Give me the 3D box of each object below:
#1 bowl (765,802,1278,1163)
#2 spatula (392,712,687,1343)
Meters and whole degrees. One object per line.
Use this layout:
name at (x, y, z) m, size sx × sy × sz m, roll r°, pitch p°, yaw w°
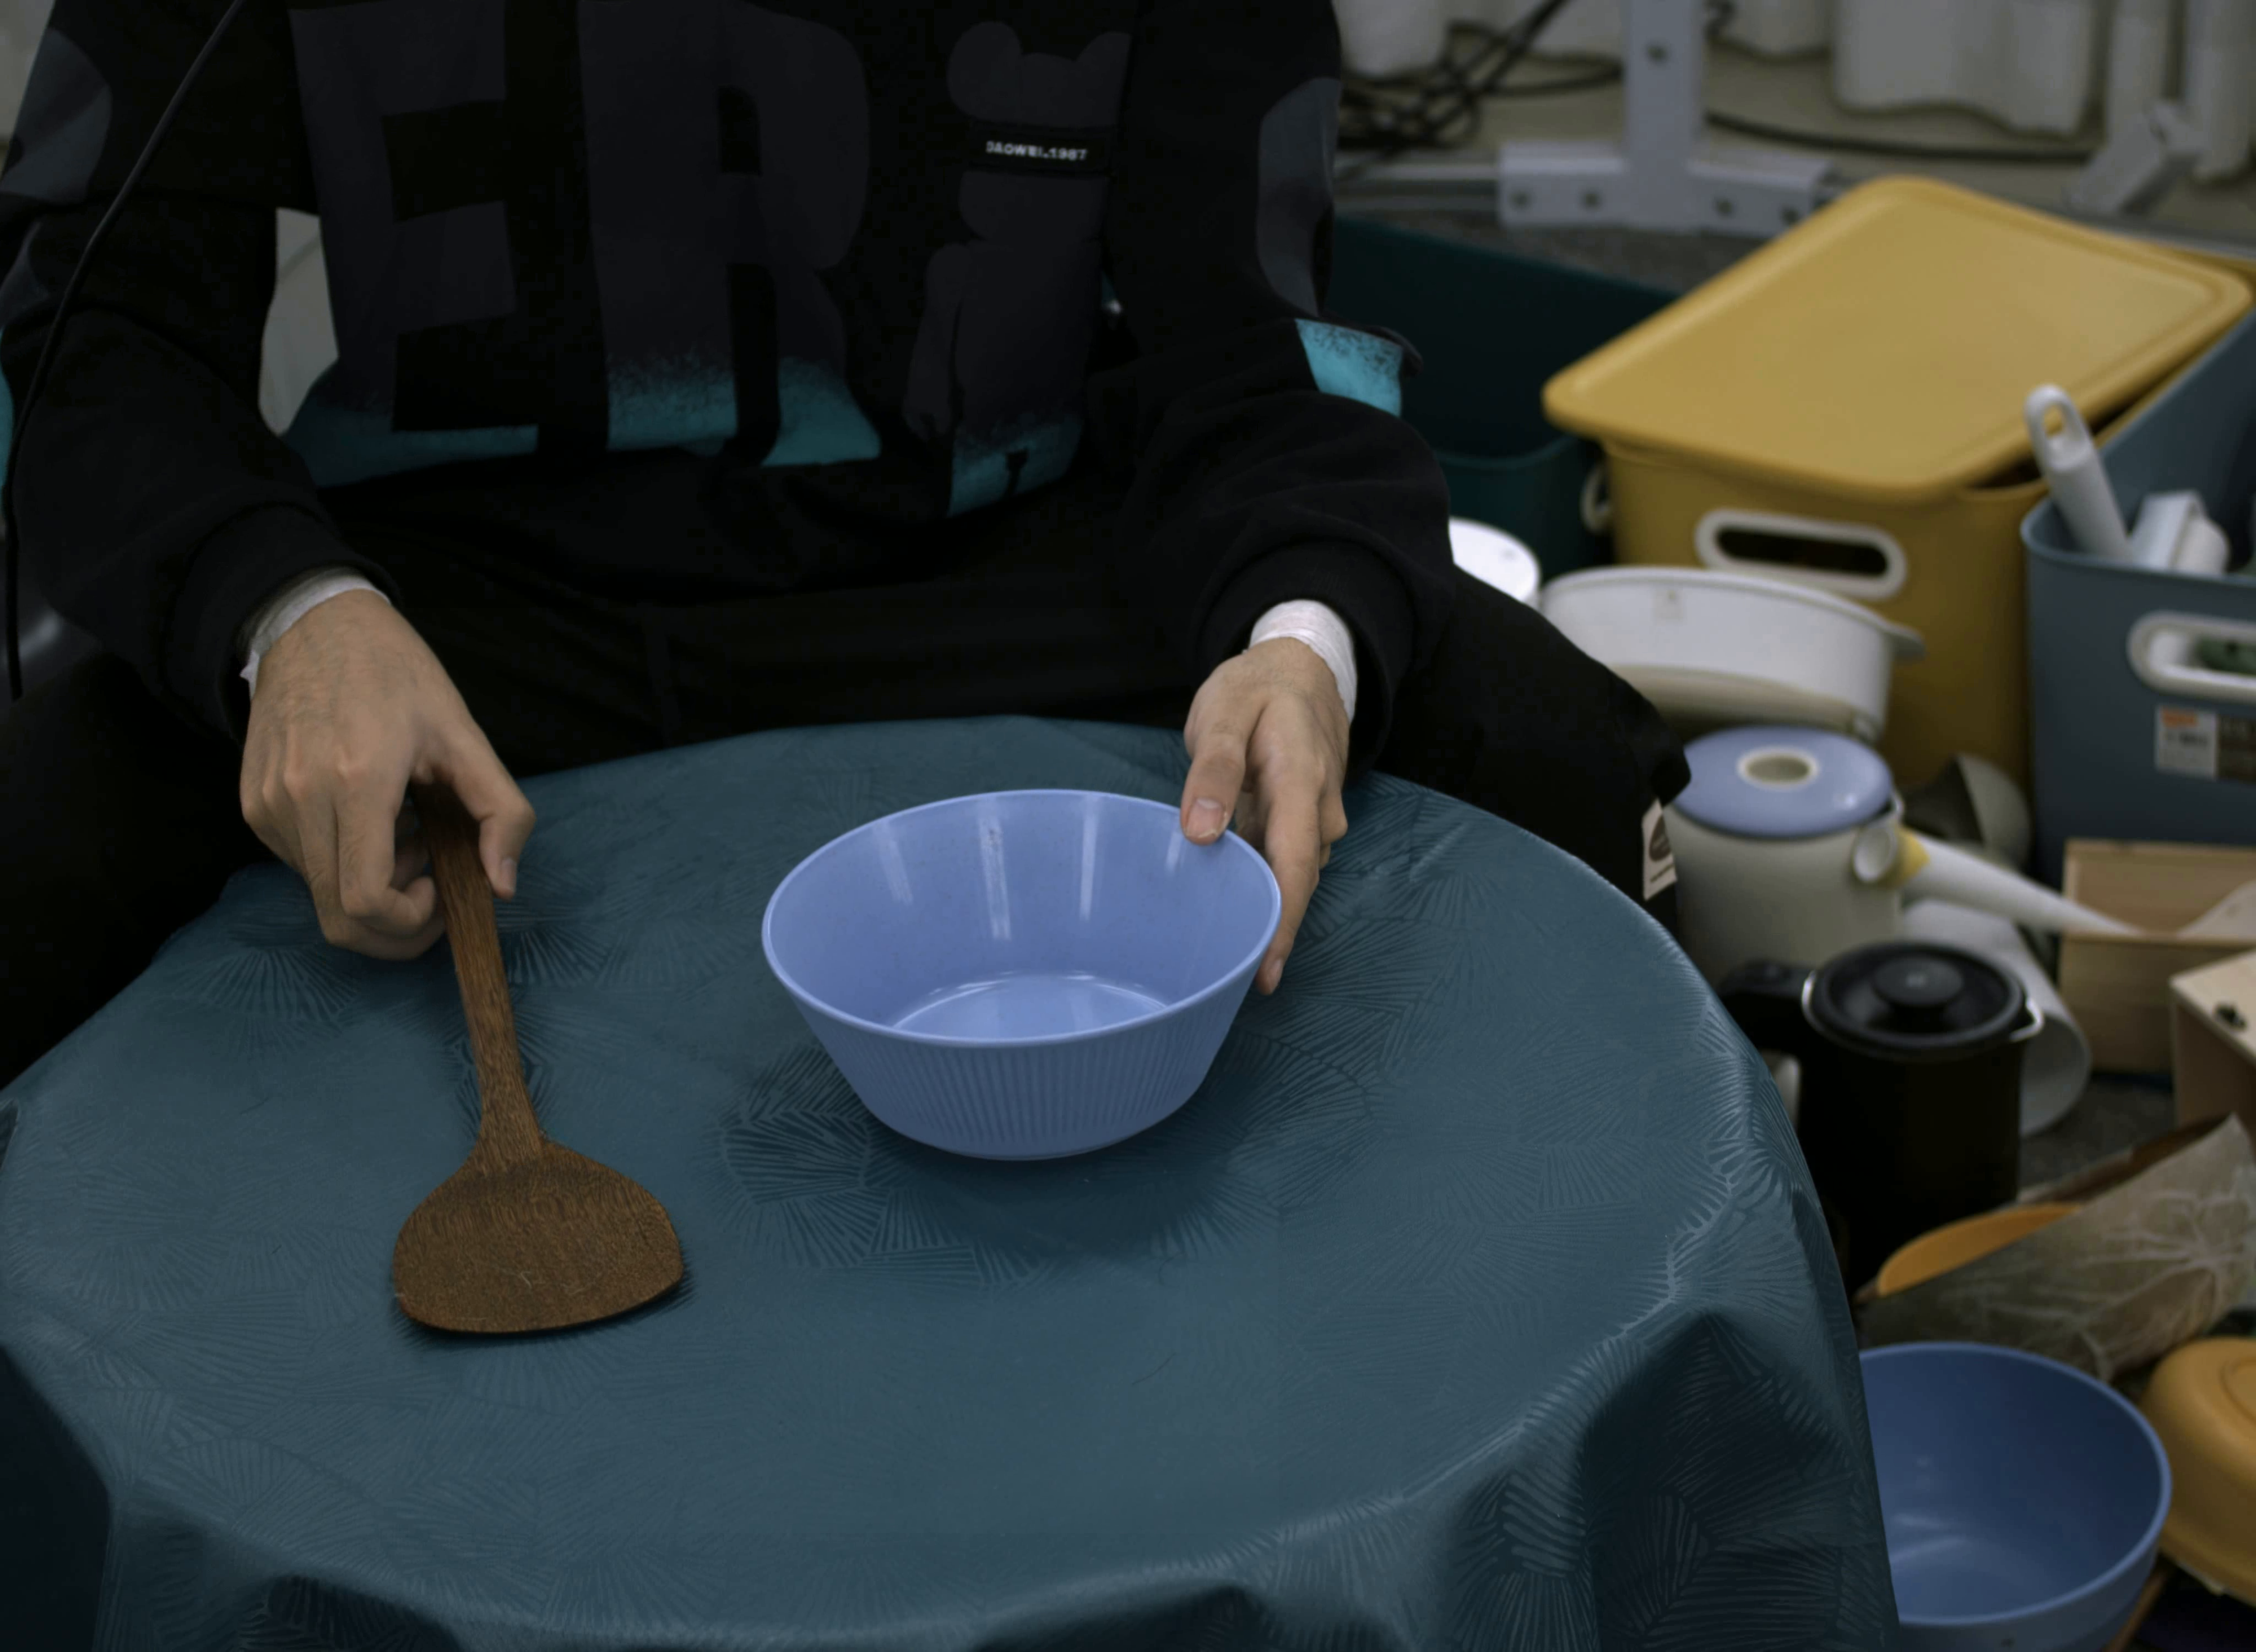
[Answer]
bowl at (-0.034, 0.059, 1.912) m, size 0.175 × 0.069 × 0.178 m, roll -2°, pitch 26°, yaw 1°
spatula at (-0.224, 0.061, 1.956) m, size 0.096 × 0.015 × 0.391 m, roll -7°, pitch 34°, yaw -9°
